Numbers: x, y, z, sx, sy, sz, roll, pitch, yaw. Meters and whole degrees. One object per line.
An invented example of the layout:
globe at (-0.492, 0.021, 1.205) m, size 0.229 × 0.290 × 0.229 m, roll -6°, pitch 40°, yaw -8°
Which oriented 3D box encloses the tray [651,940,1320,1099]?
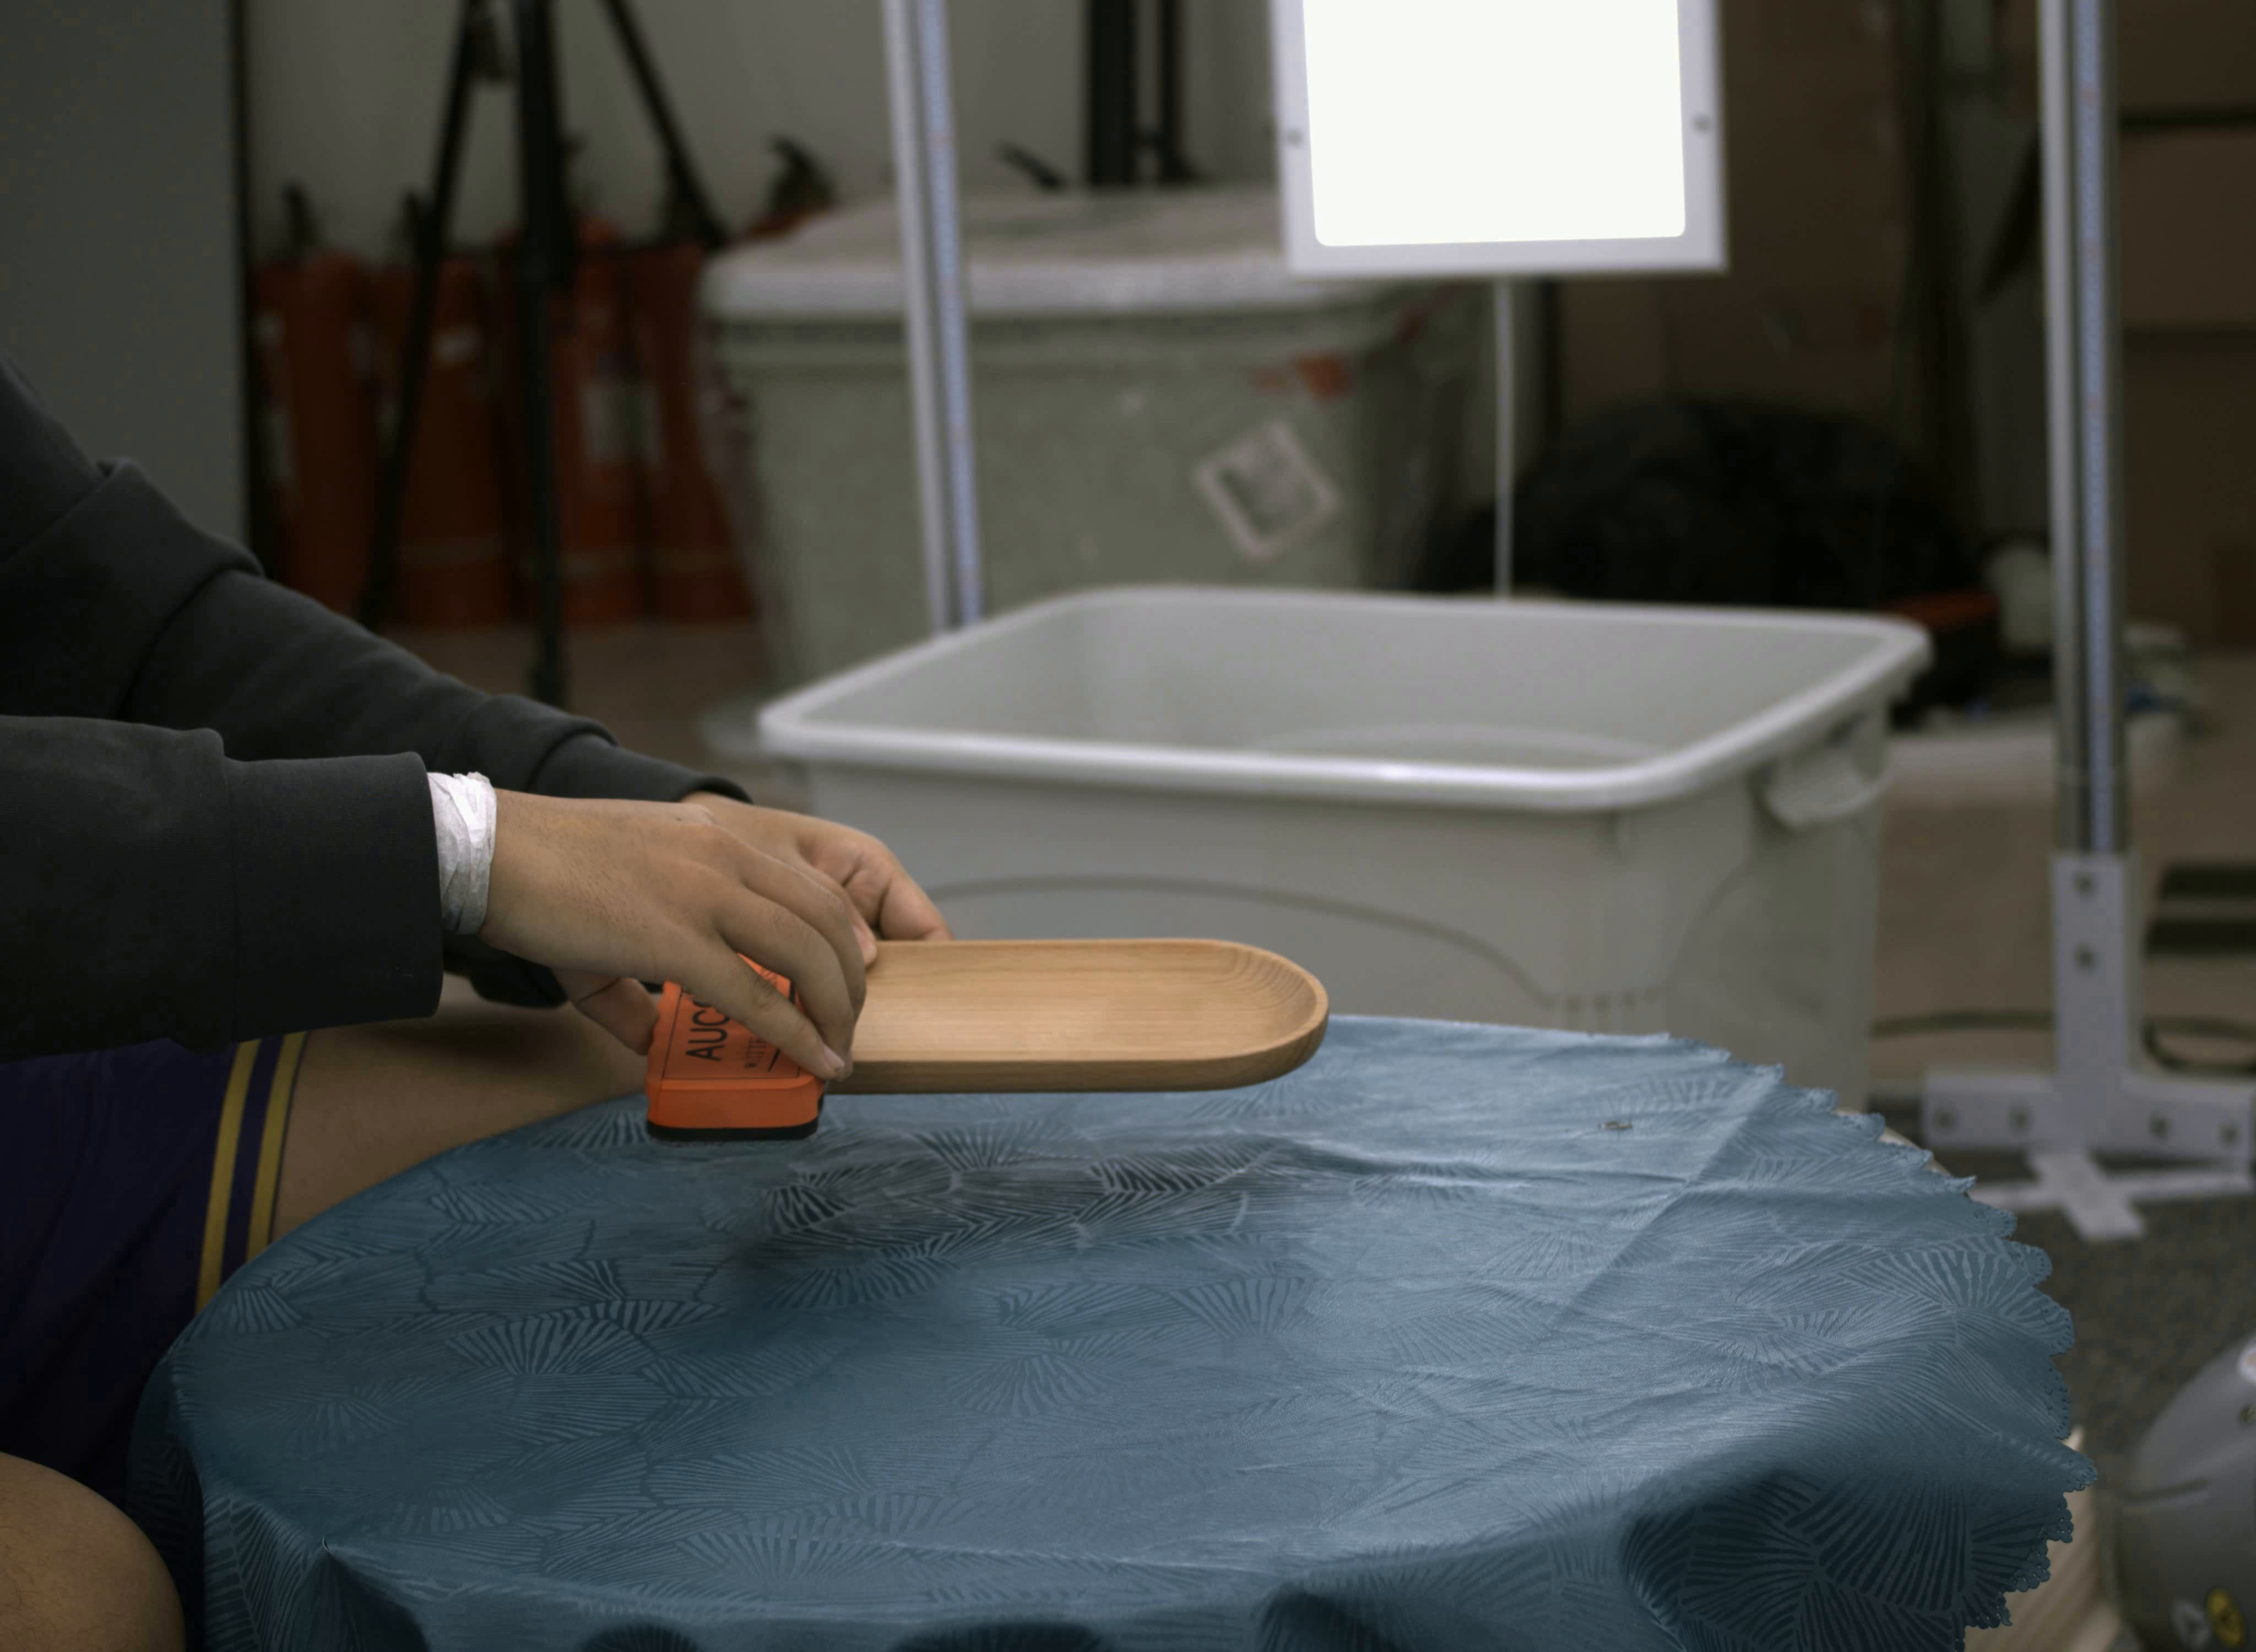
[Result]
tray at (-0.049, 0.067, 1.897) m, size 0.230 × 0.020 × 0.101 m, roll -2°, pitch 22°, yaw 0°

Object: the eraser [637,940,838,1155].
eraser at (-0.130, 0.073, 1.840) m, size 0.059 × 0.023 × 0.107 m, roll 8°, pitch 25°, yaw -1°
